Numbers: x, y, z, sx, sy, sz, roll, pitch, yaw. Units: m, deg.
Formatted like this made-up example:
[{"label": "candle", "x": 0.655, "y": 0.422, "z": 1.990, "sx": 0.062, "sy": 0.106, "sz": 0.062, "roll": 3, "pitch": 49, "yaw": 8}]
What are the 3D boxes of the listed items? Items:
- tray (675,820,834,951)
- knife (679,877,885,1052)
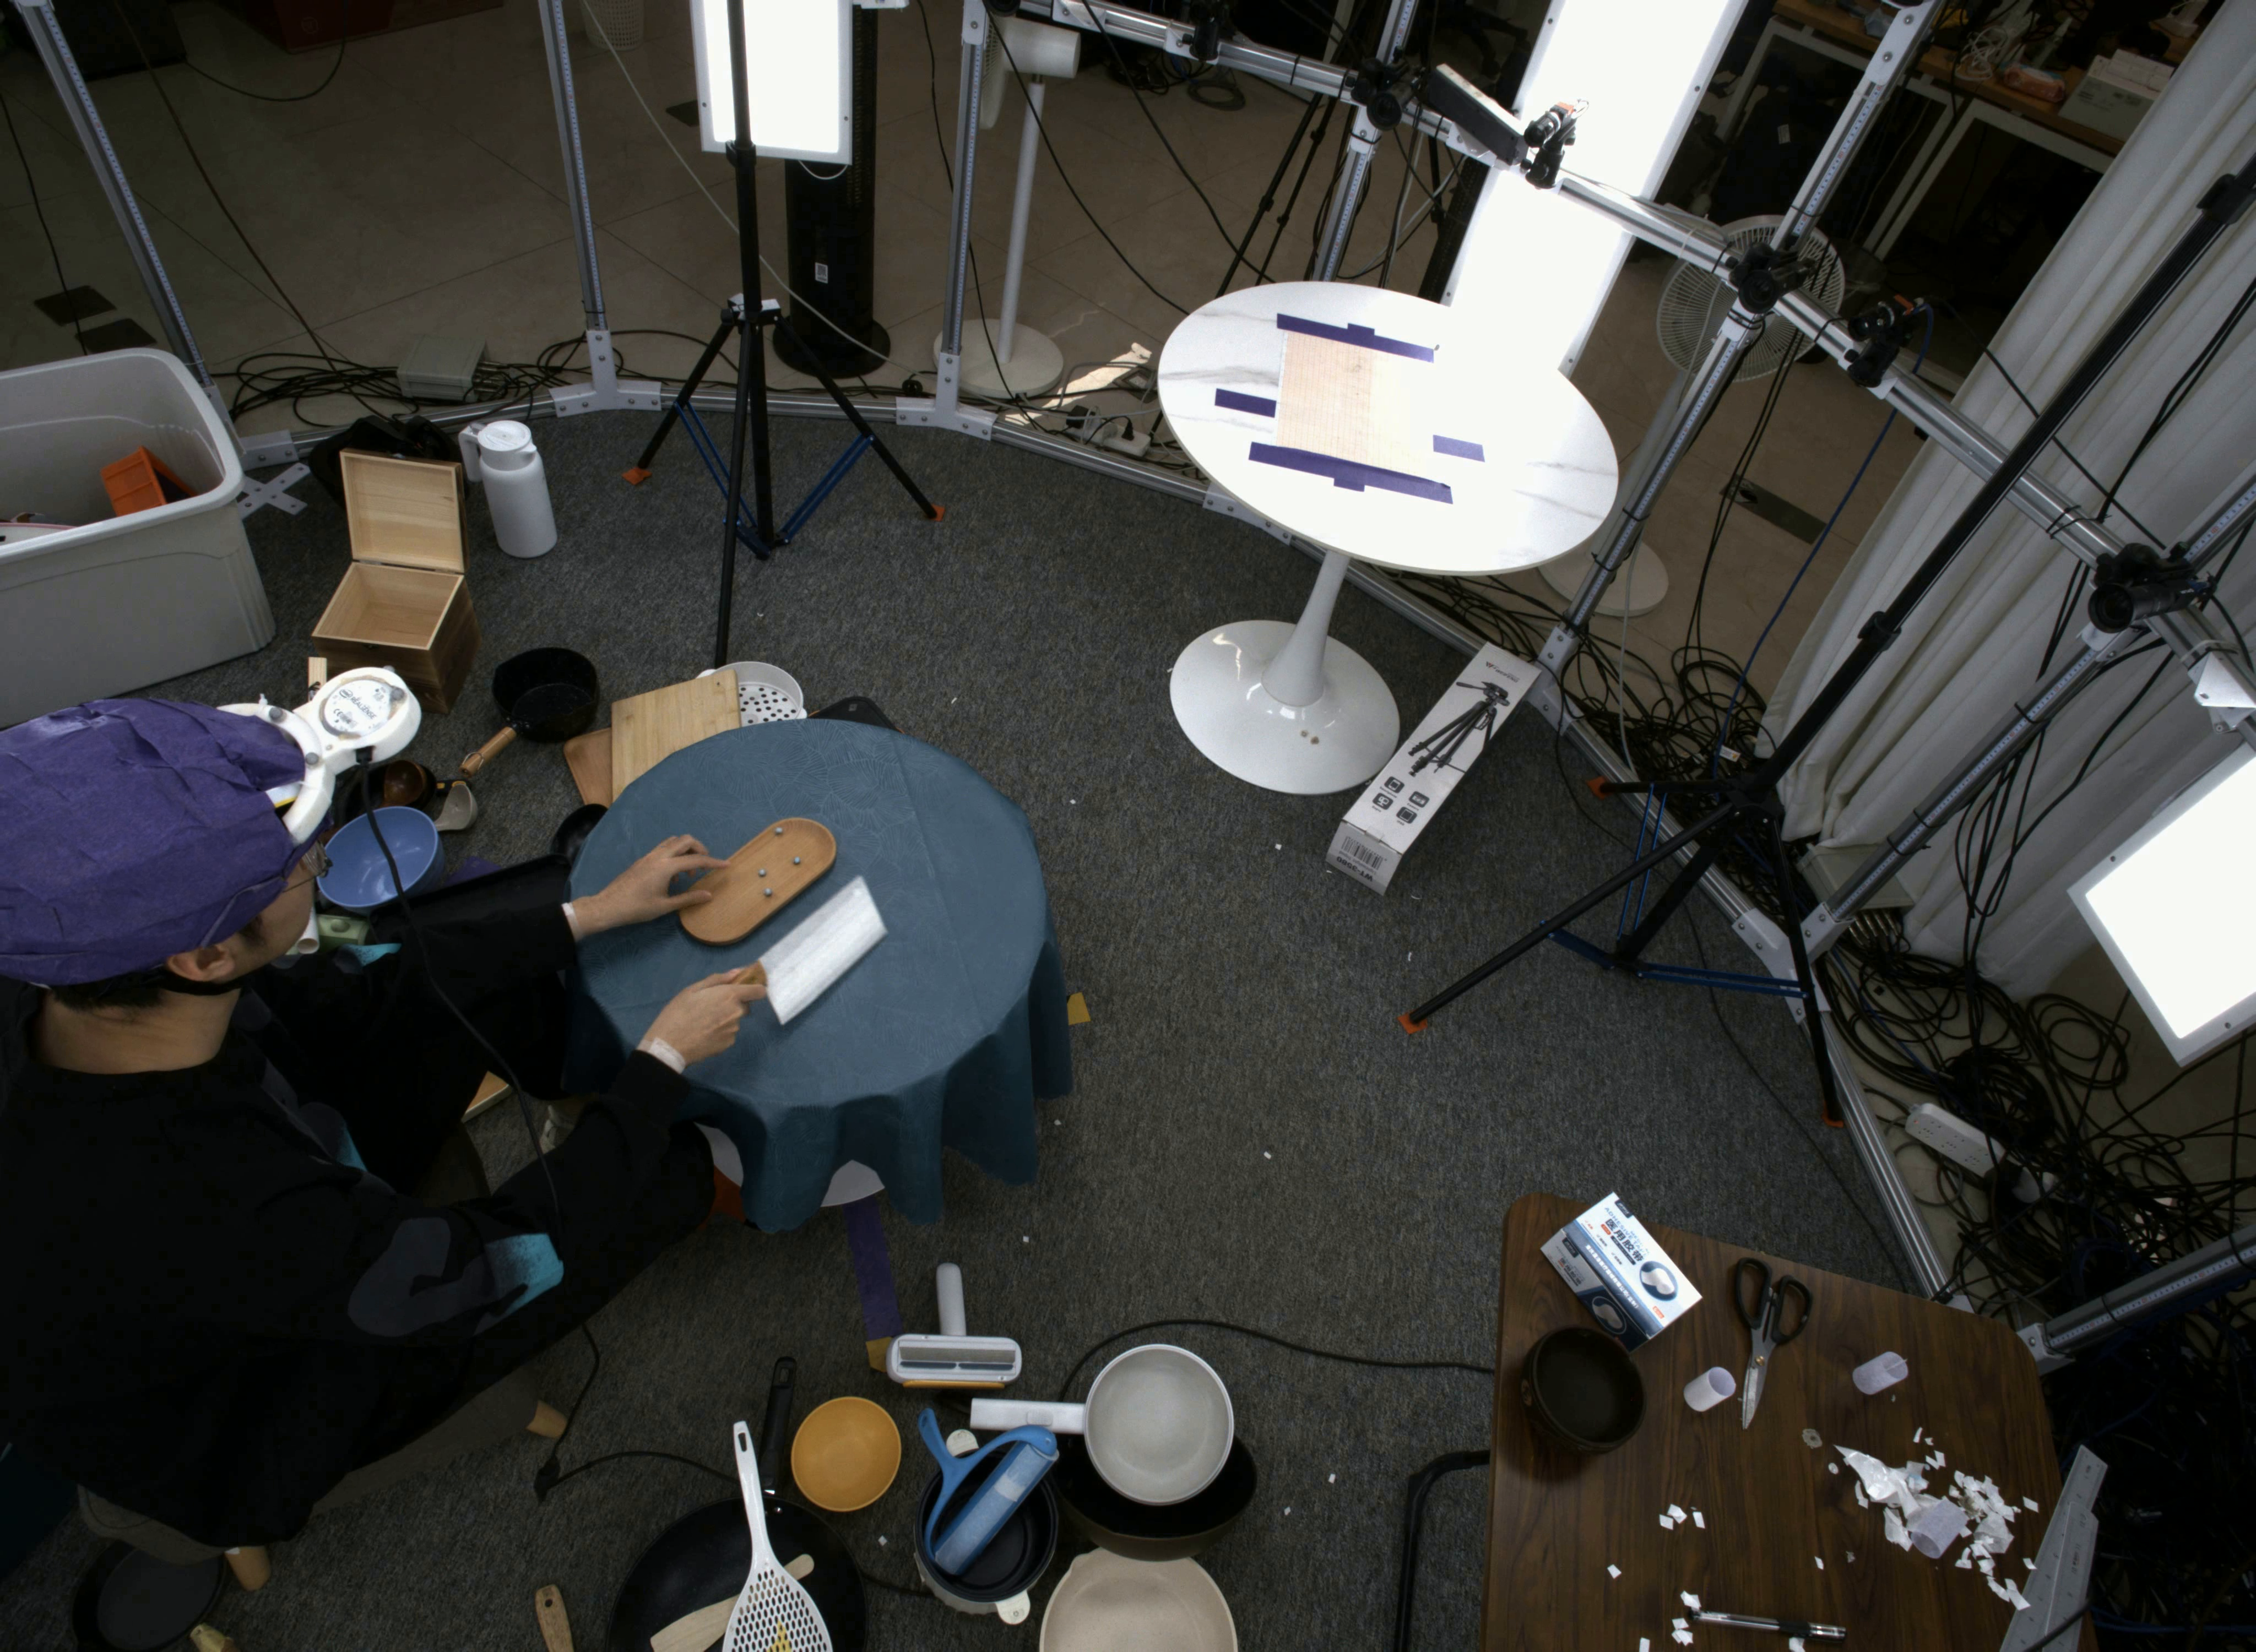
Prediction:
[{"label": "tray", "x": -0.470, "y": 0.071, "z": 1.637, "sx": 0.099, "sy": 0.021, "sz": 0.231, "roll": 36, "pitch": 54, "yaw": 14}, {"label": "knife", "x": -0.394, "y": 0.176, "z": 1.521, "sx": 0.020, "sy": 0.096, "sz": 0.305, "roll": 5, "pitch": 35, "yaw": 37}]
